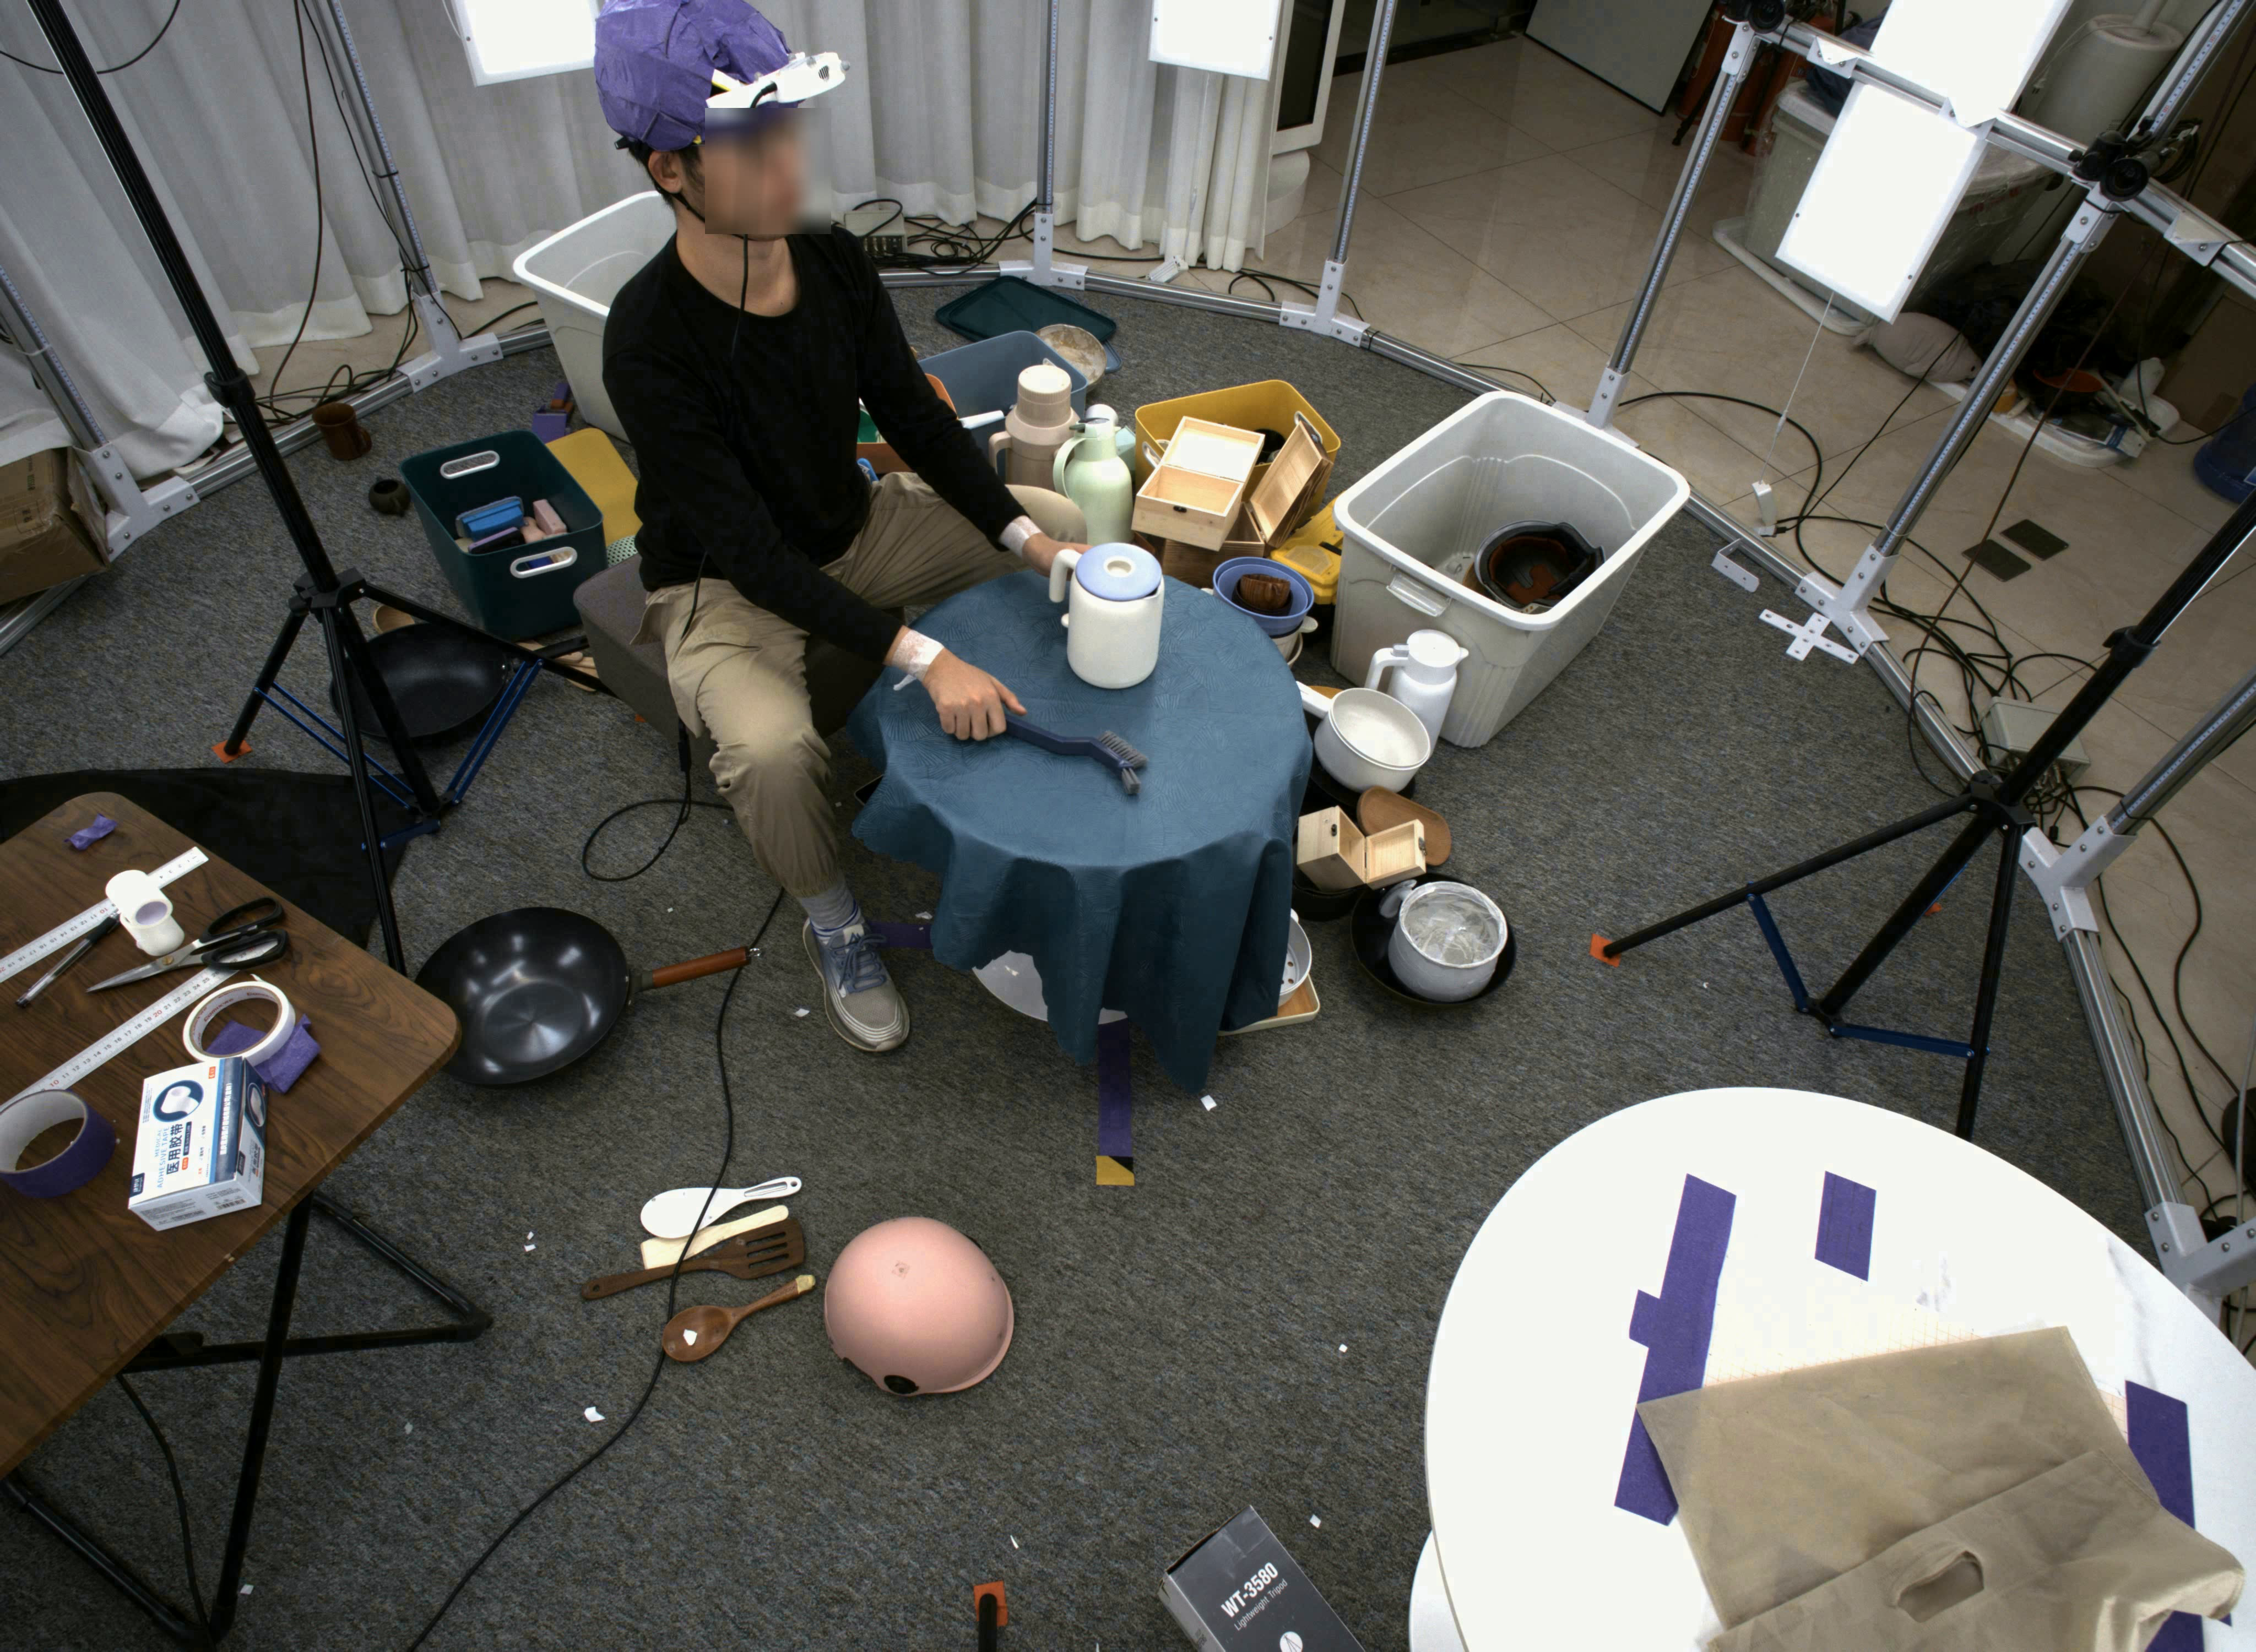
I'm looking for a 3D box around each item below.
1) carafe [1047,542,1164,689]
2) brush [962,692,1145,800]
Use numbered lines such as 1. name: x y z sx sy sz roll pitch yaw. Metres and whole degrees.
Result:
1. carafe: -0.037 -0.309 1.824 0.193 0.178 0.134 31 54 23
2. brush: -0.110 -0.114 1.742 0.274 0.033 0.097 17 52 9
